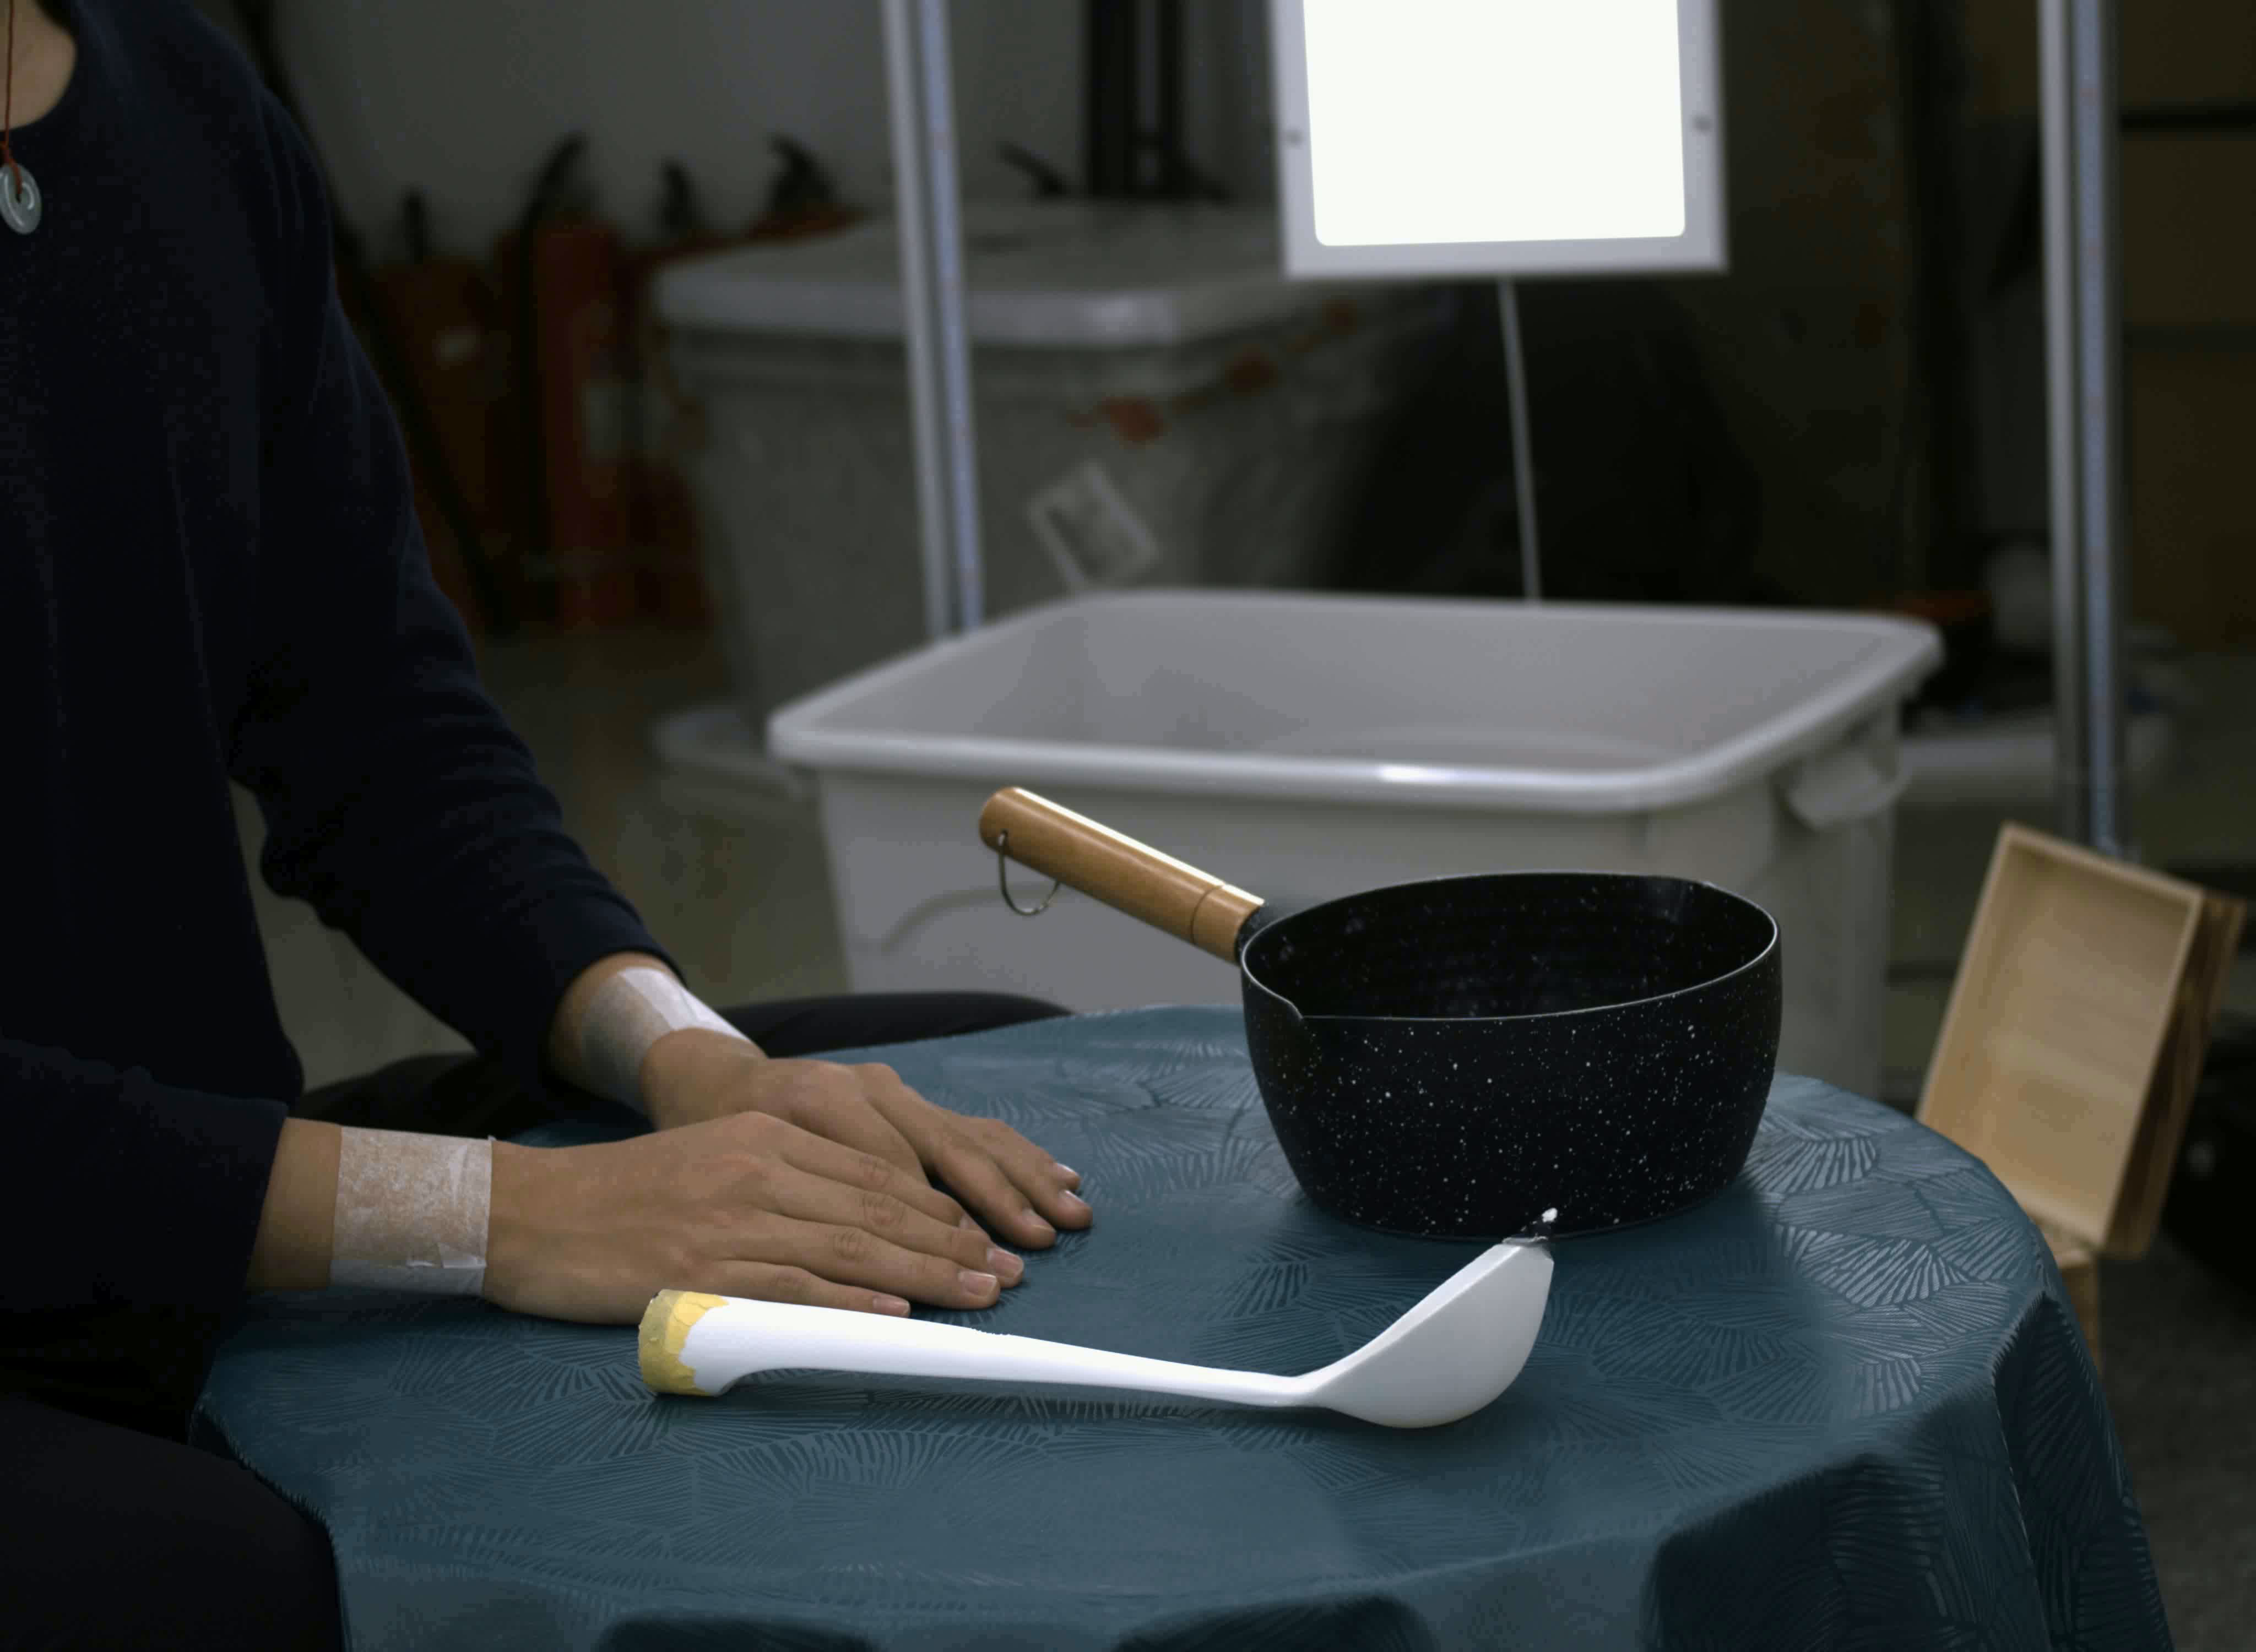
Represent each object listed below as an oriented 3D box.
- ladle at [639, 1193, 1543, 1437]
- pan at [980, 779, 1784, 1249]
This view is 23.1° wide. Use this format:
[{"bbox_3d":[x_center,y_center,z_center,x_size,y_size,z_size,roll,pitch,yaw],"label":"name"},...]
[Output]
[{"bbox_3d":[-0.014,0.149,1.675,0.297,0.070,0.088,0,18,22],"label":"ladle"},{"bbox_3d":[0.074,0.058,1.920,0.350,0.108,0.202,10,22,44],"label":"pan"}]
